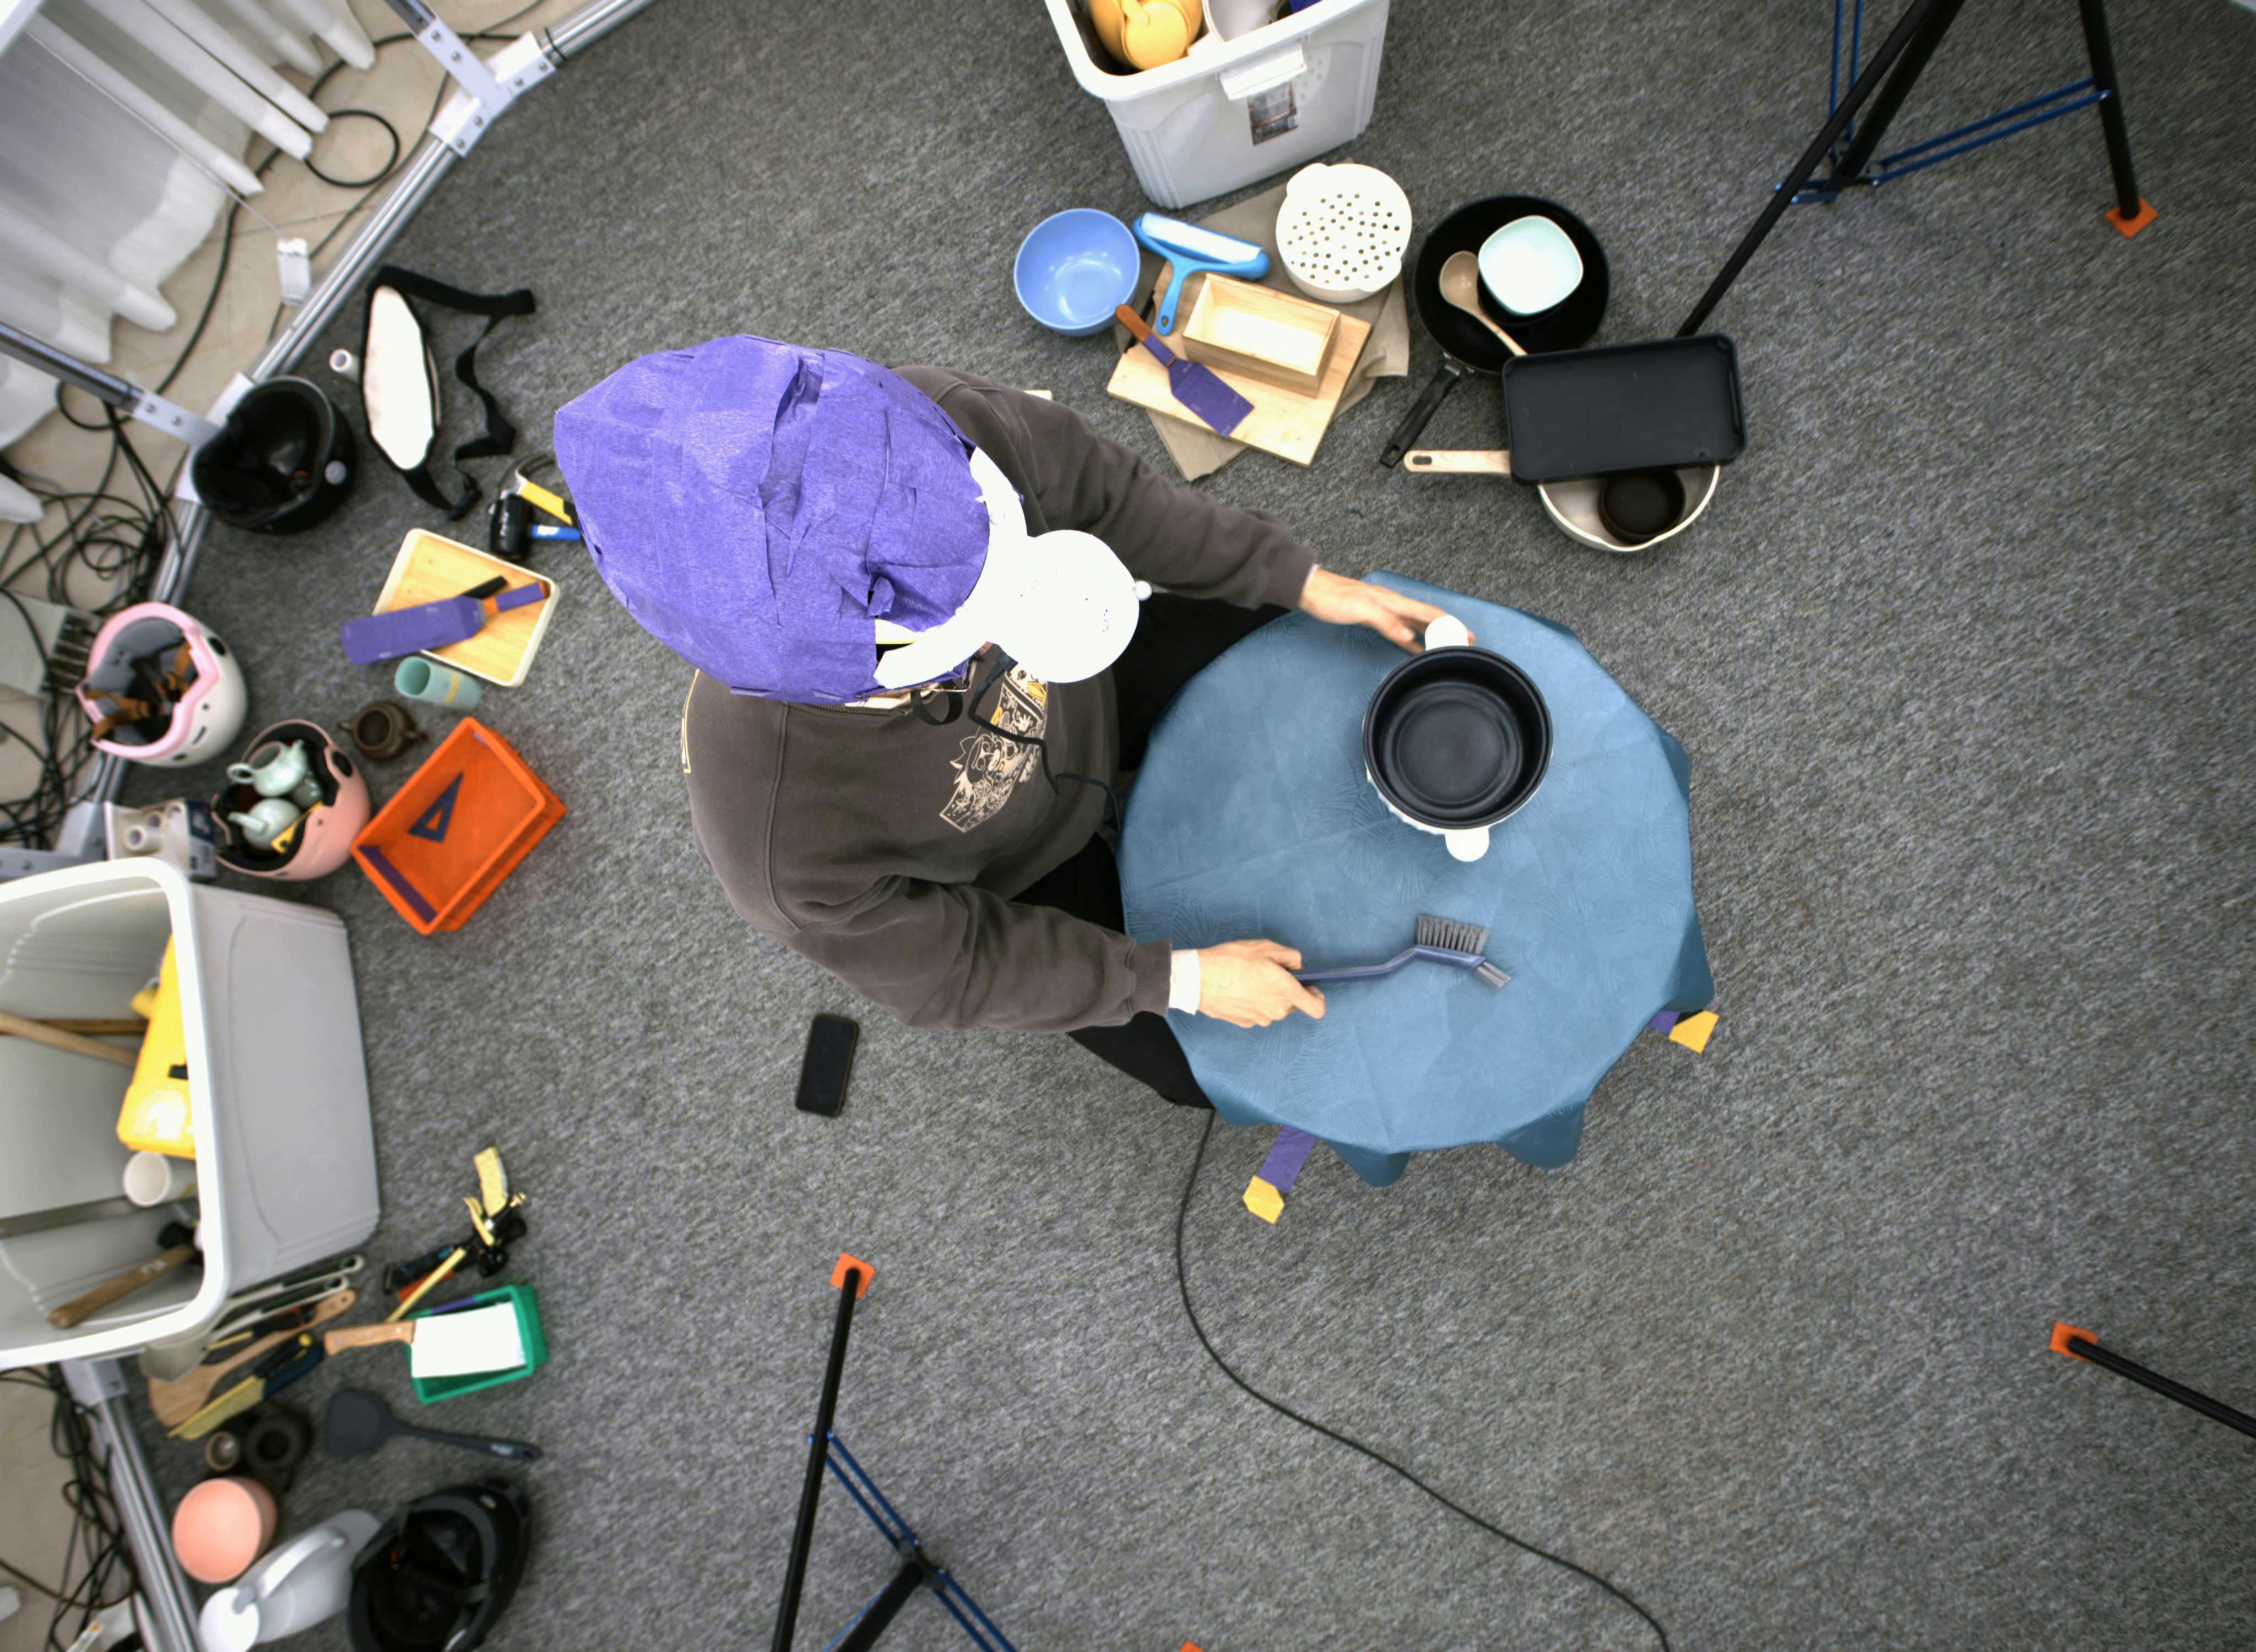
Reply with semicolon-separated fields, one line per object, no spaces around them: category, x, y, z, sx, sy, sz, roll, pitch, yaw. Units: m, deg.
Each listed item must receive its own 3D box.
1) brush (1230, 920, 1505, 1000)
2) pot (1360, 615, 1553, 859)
brush;0.245;0.154;1.425;0.273;0.034;0.094;-11;73;0
pot;0.332;-0.085;1.383;0.191;0.142;0.239;-6;87;13
